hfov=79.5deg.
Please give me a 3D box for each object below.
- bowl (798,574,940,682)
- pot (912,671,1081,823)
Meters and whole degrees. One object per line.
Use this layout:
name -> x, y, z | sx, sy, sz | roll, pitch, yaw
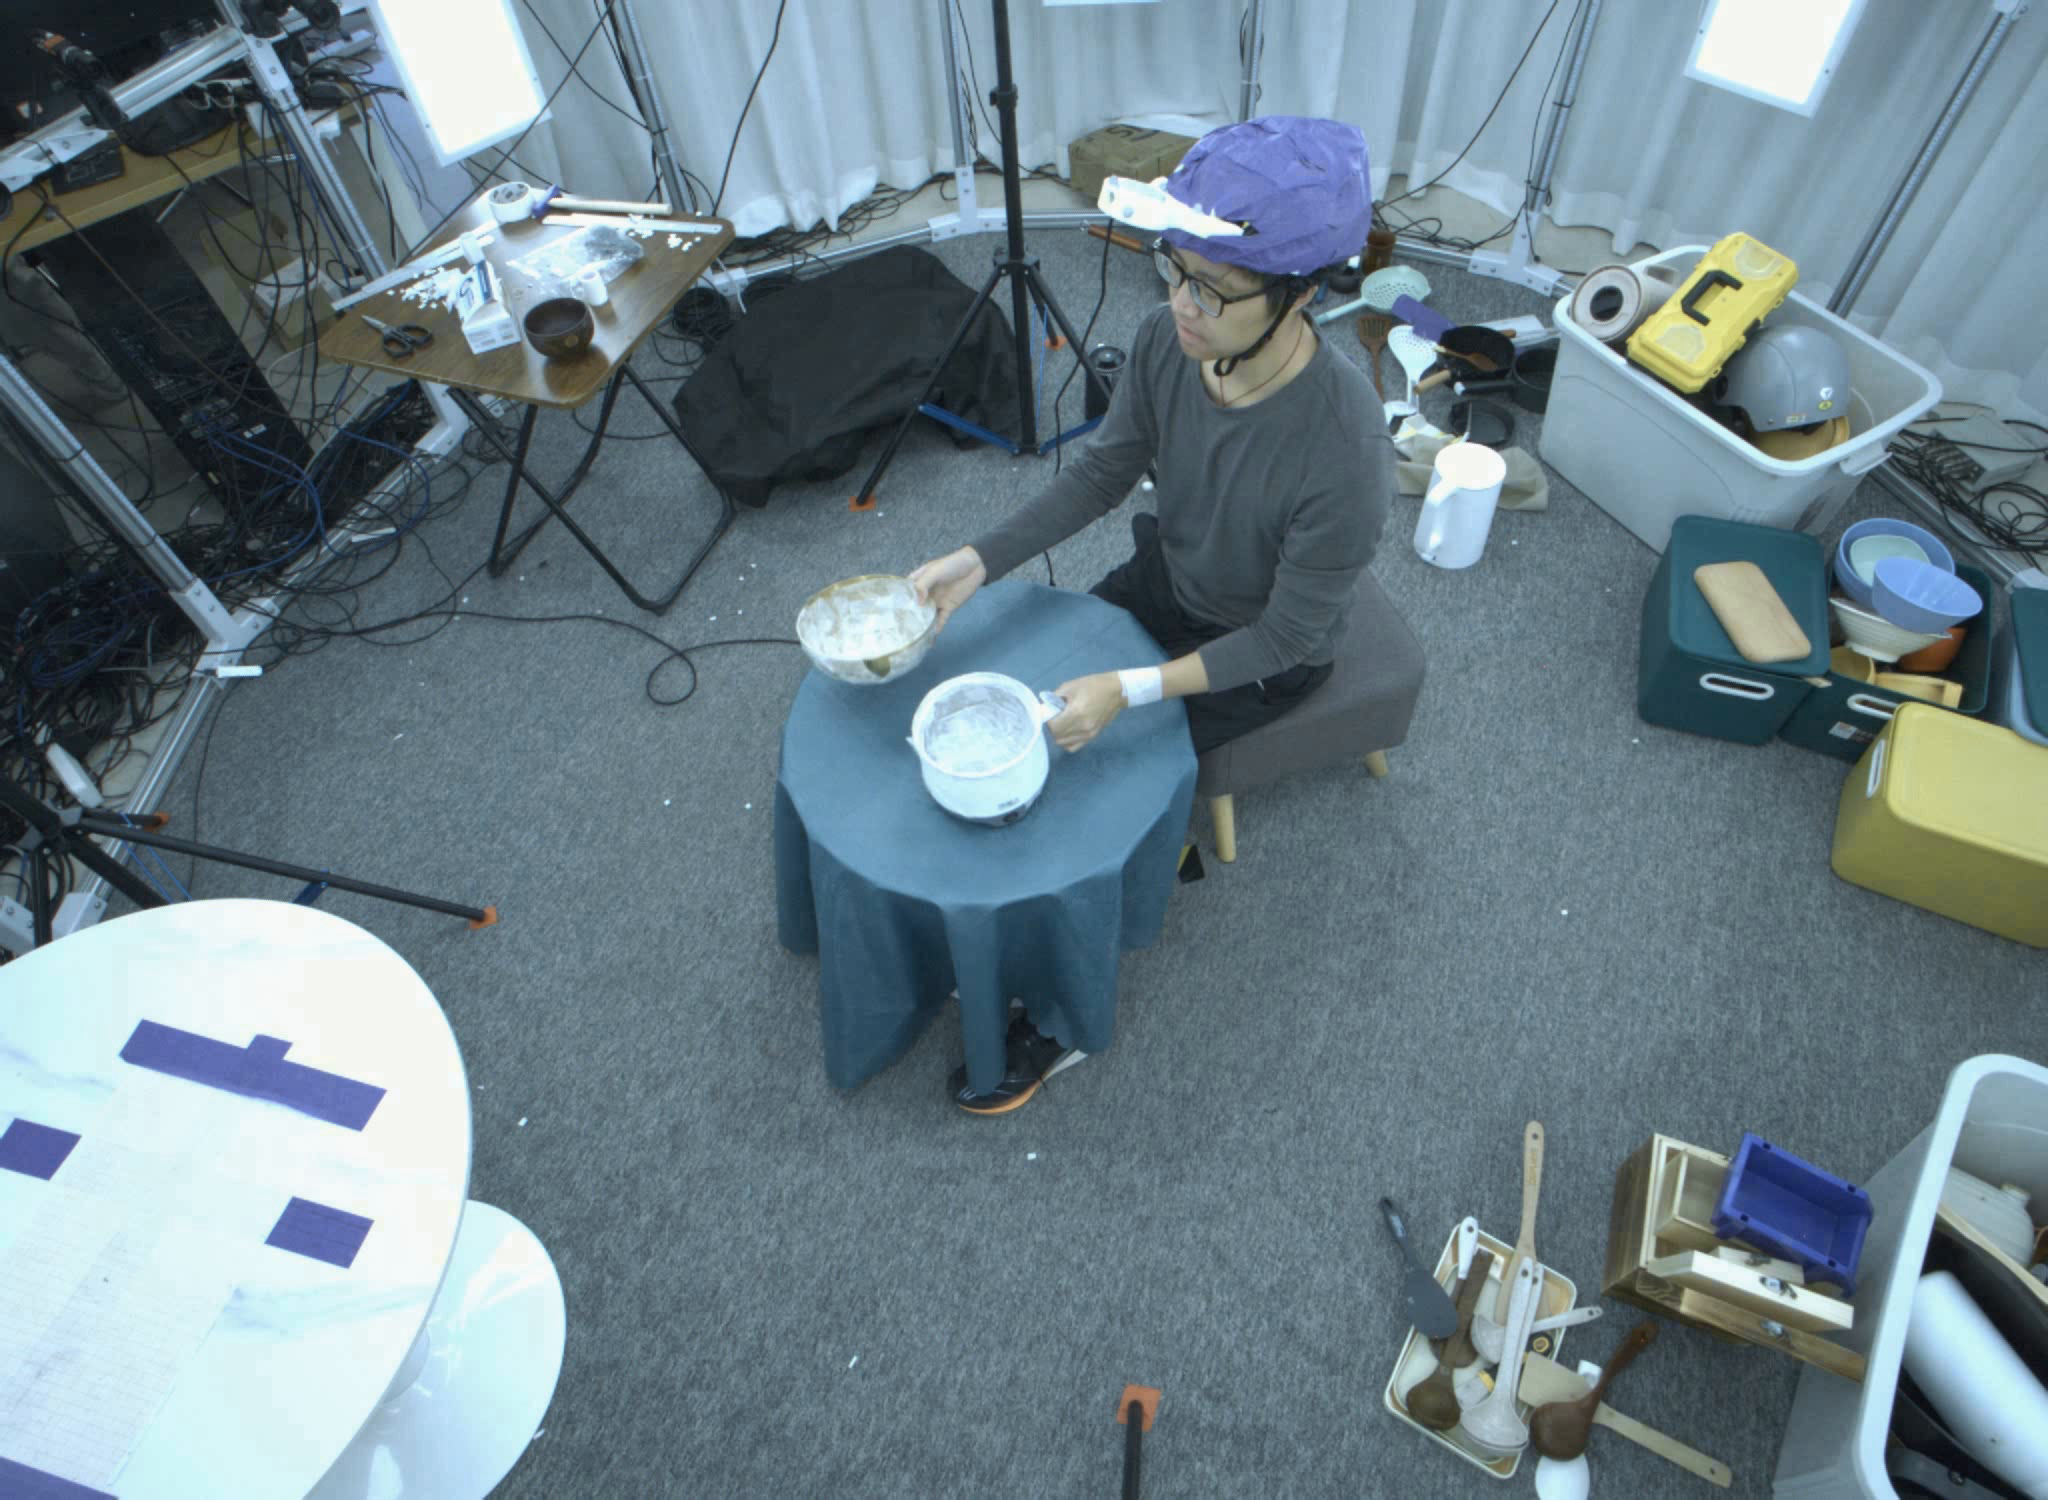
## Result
bowl -> -0.219, -0.165, 1.785 | 0.214, 0.095, 0.212 | -1, 41, 2
pot -> -0.033, -0.013, 1.717 | 0.235, 0.138, 0.175 | -23, 57, -11
